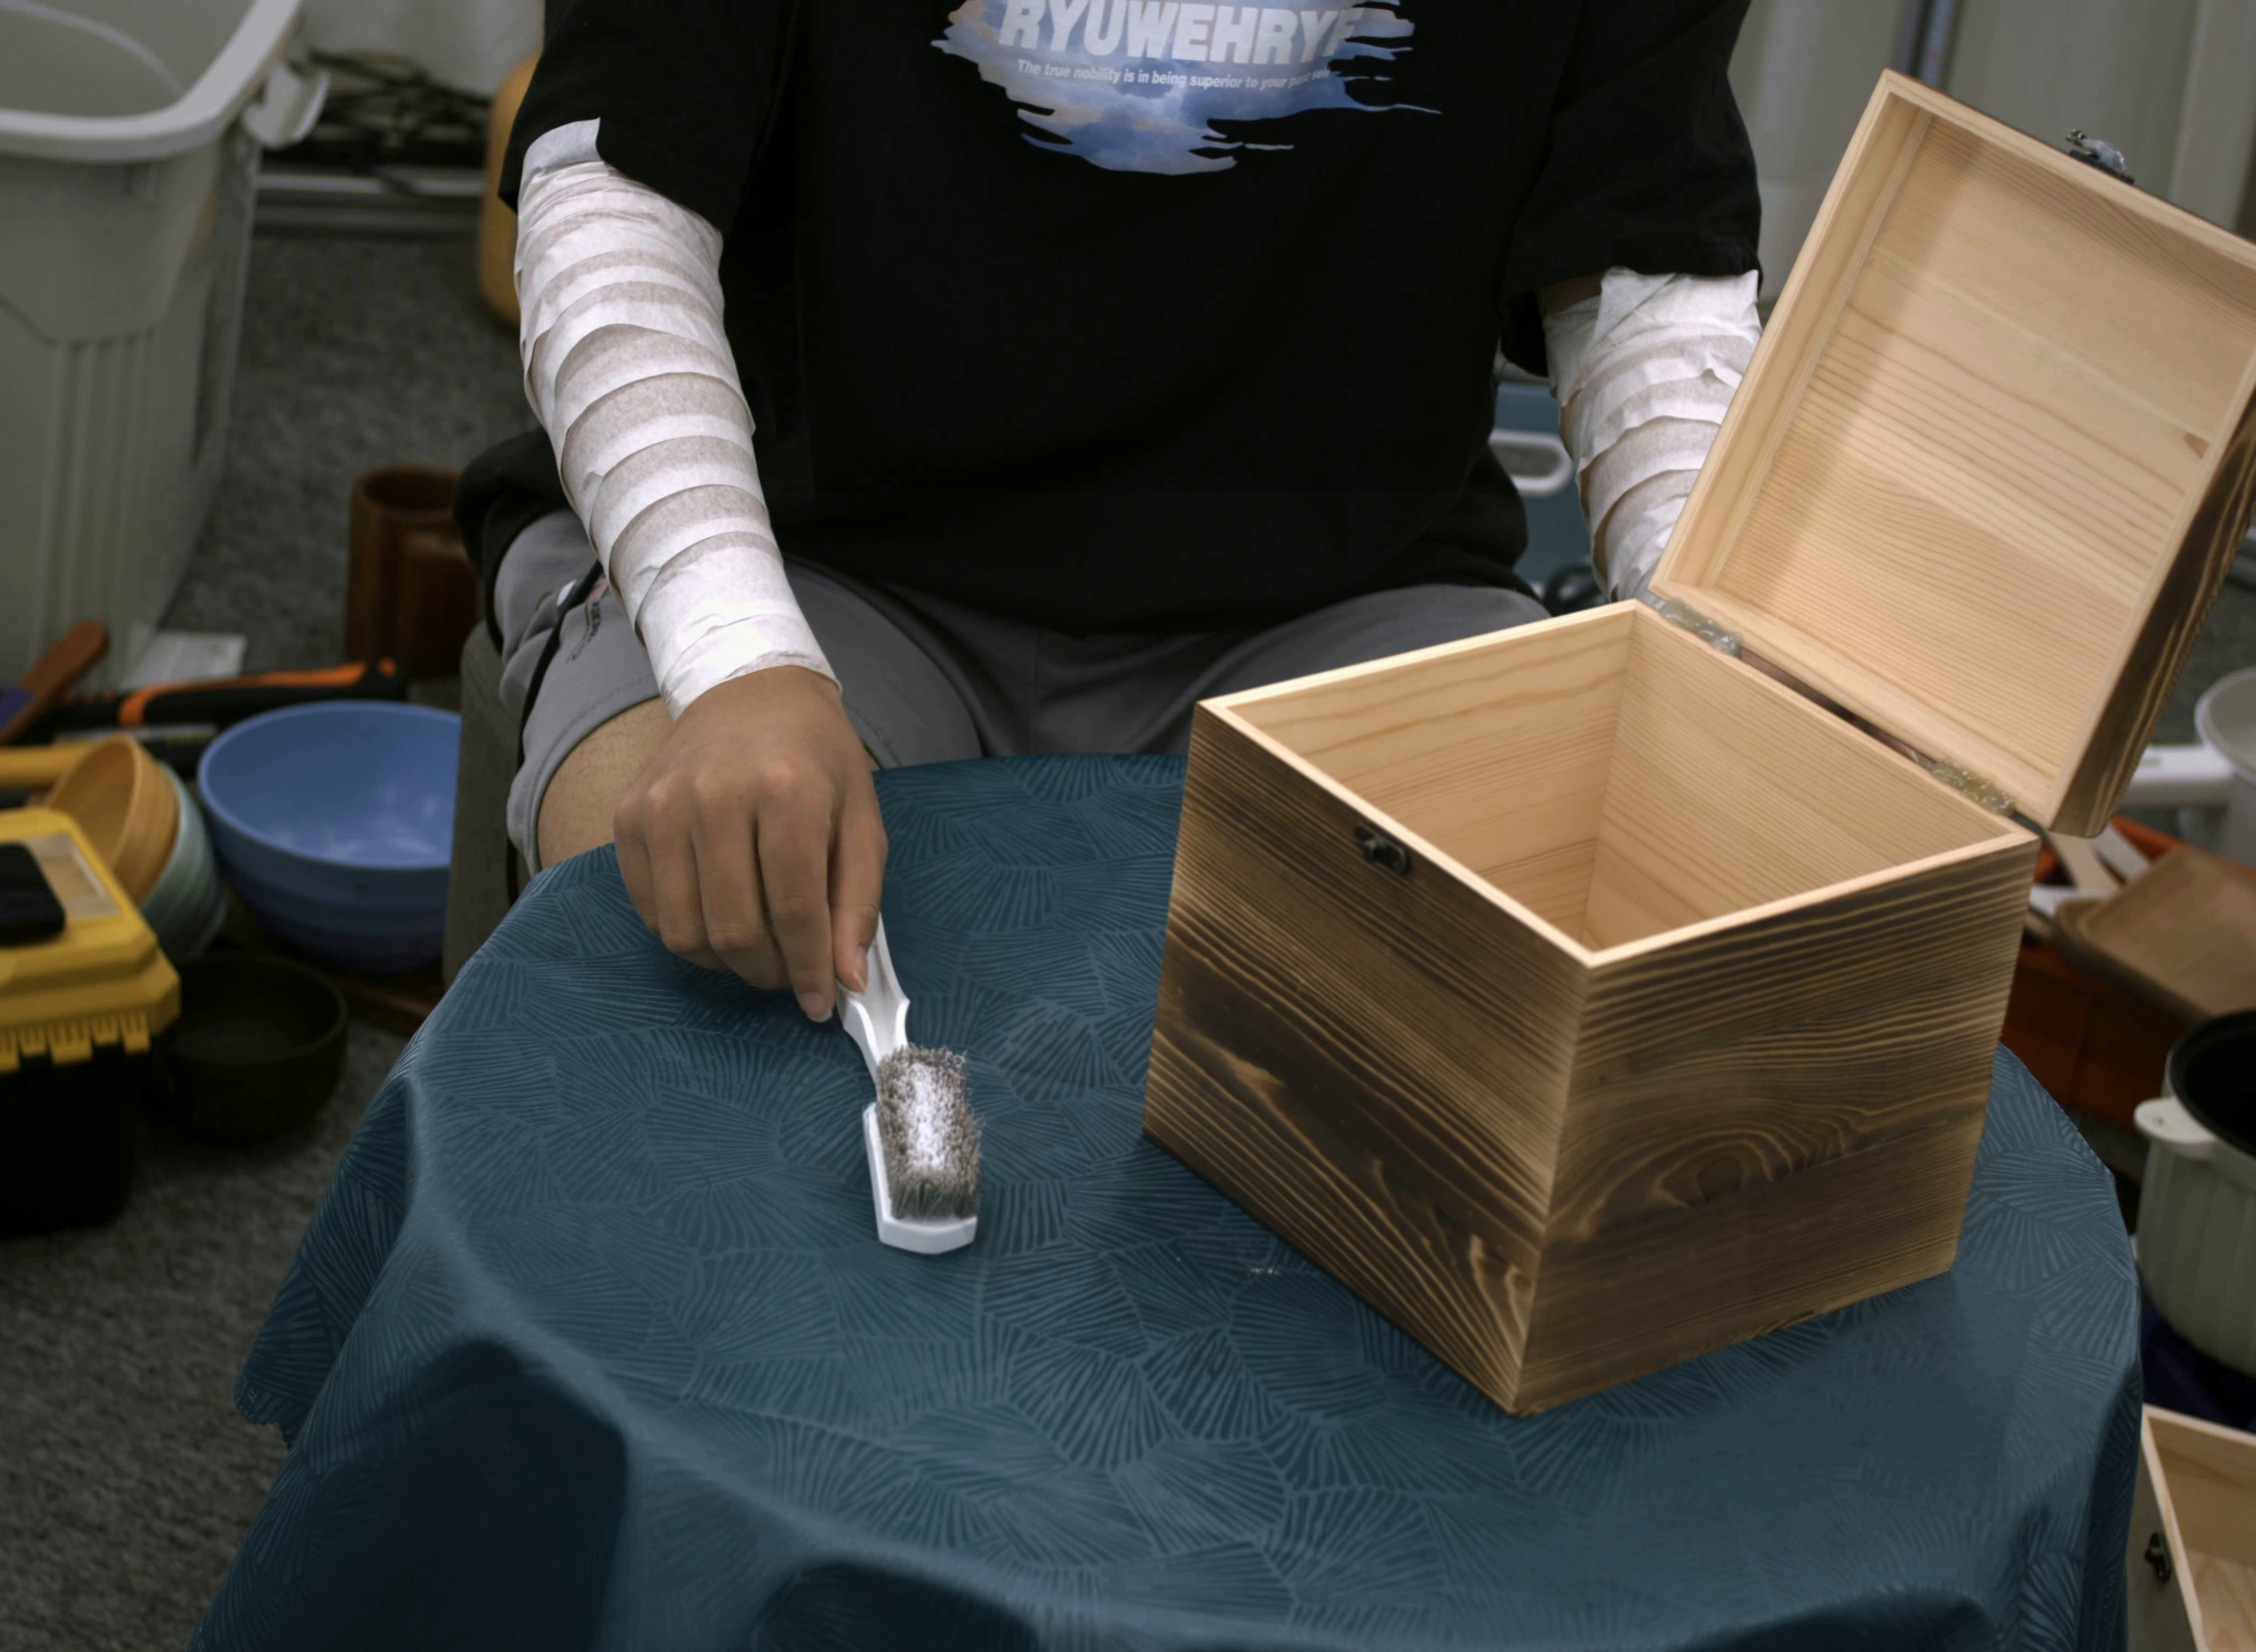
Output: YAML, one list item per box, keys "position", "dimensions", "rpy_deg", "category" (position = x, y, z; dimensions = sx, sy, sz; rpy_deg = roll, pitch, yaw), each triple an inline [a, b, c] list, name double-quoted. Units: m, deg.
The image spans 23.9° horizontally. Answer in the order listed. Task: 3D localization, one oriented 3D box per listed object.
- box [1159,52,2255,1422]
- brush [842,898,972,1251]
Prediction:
- position: [0.200, -0.043, 1.777]
  dimensions: [0.320, 0.374, 0.210]
  rpy_deg: [-14, 32, -35]
  category: "box"
- position: [-0.079, 0.068, 1.842]
  dimensions: [0.034, 0.050, 0.245]
  rpy_deg: [0, 27, -7]
  category: "brush"
